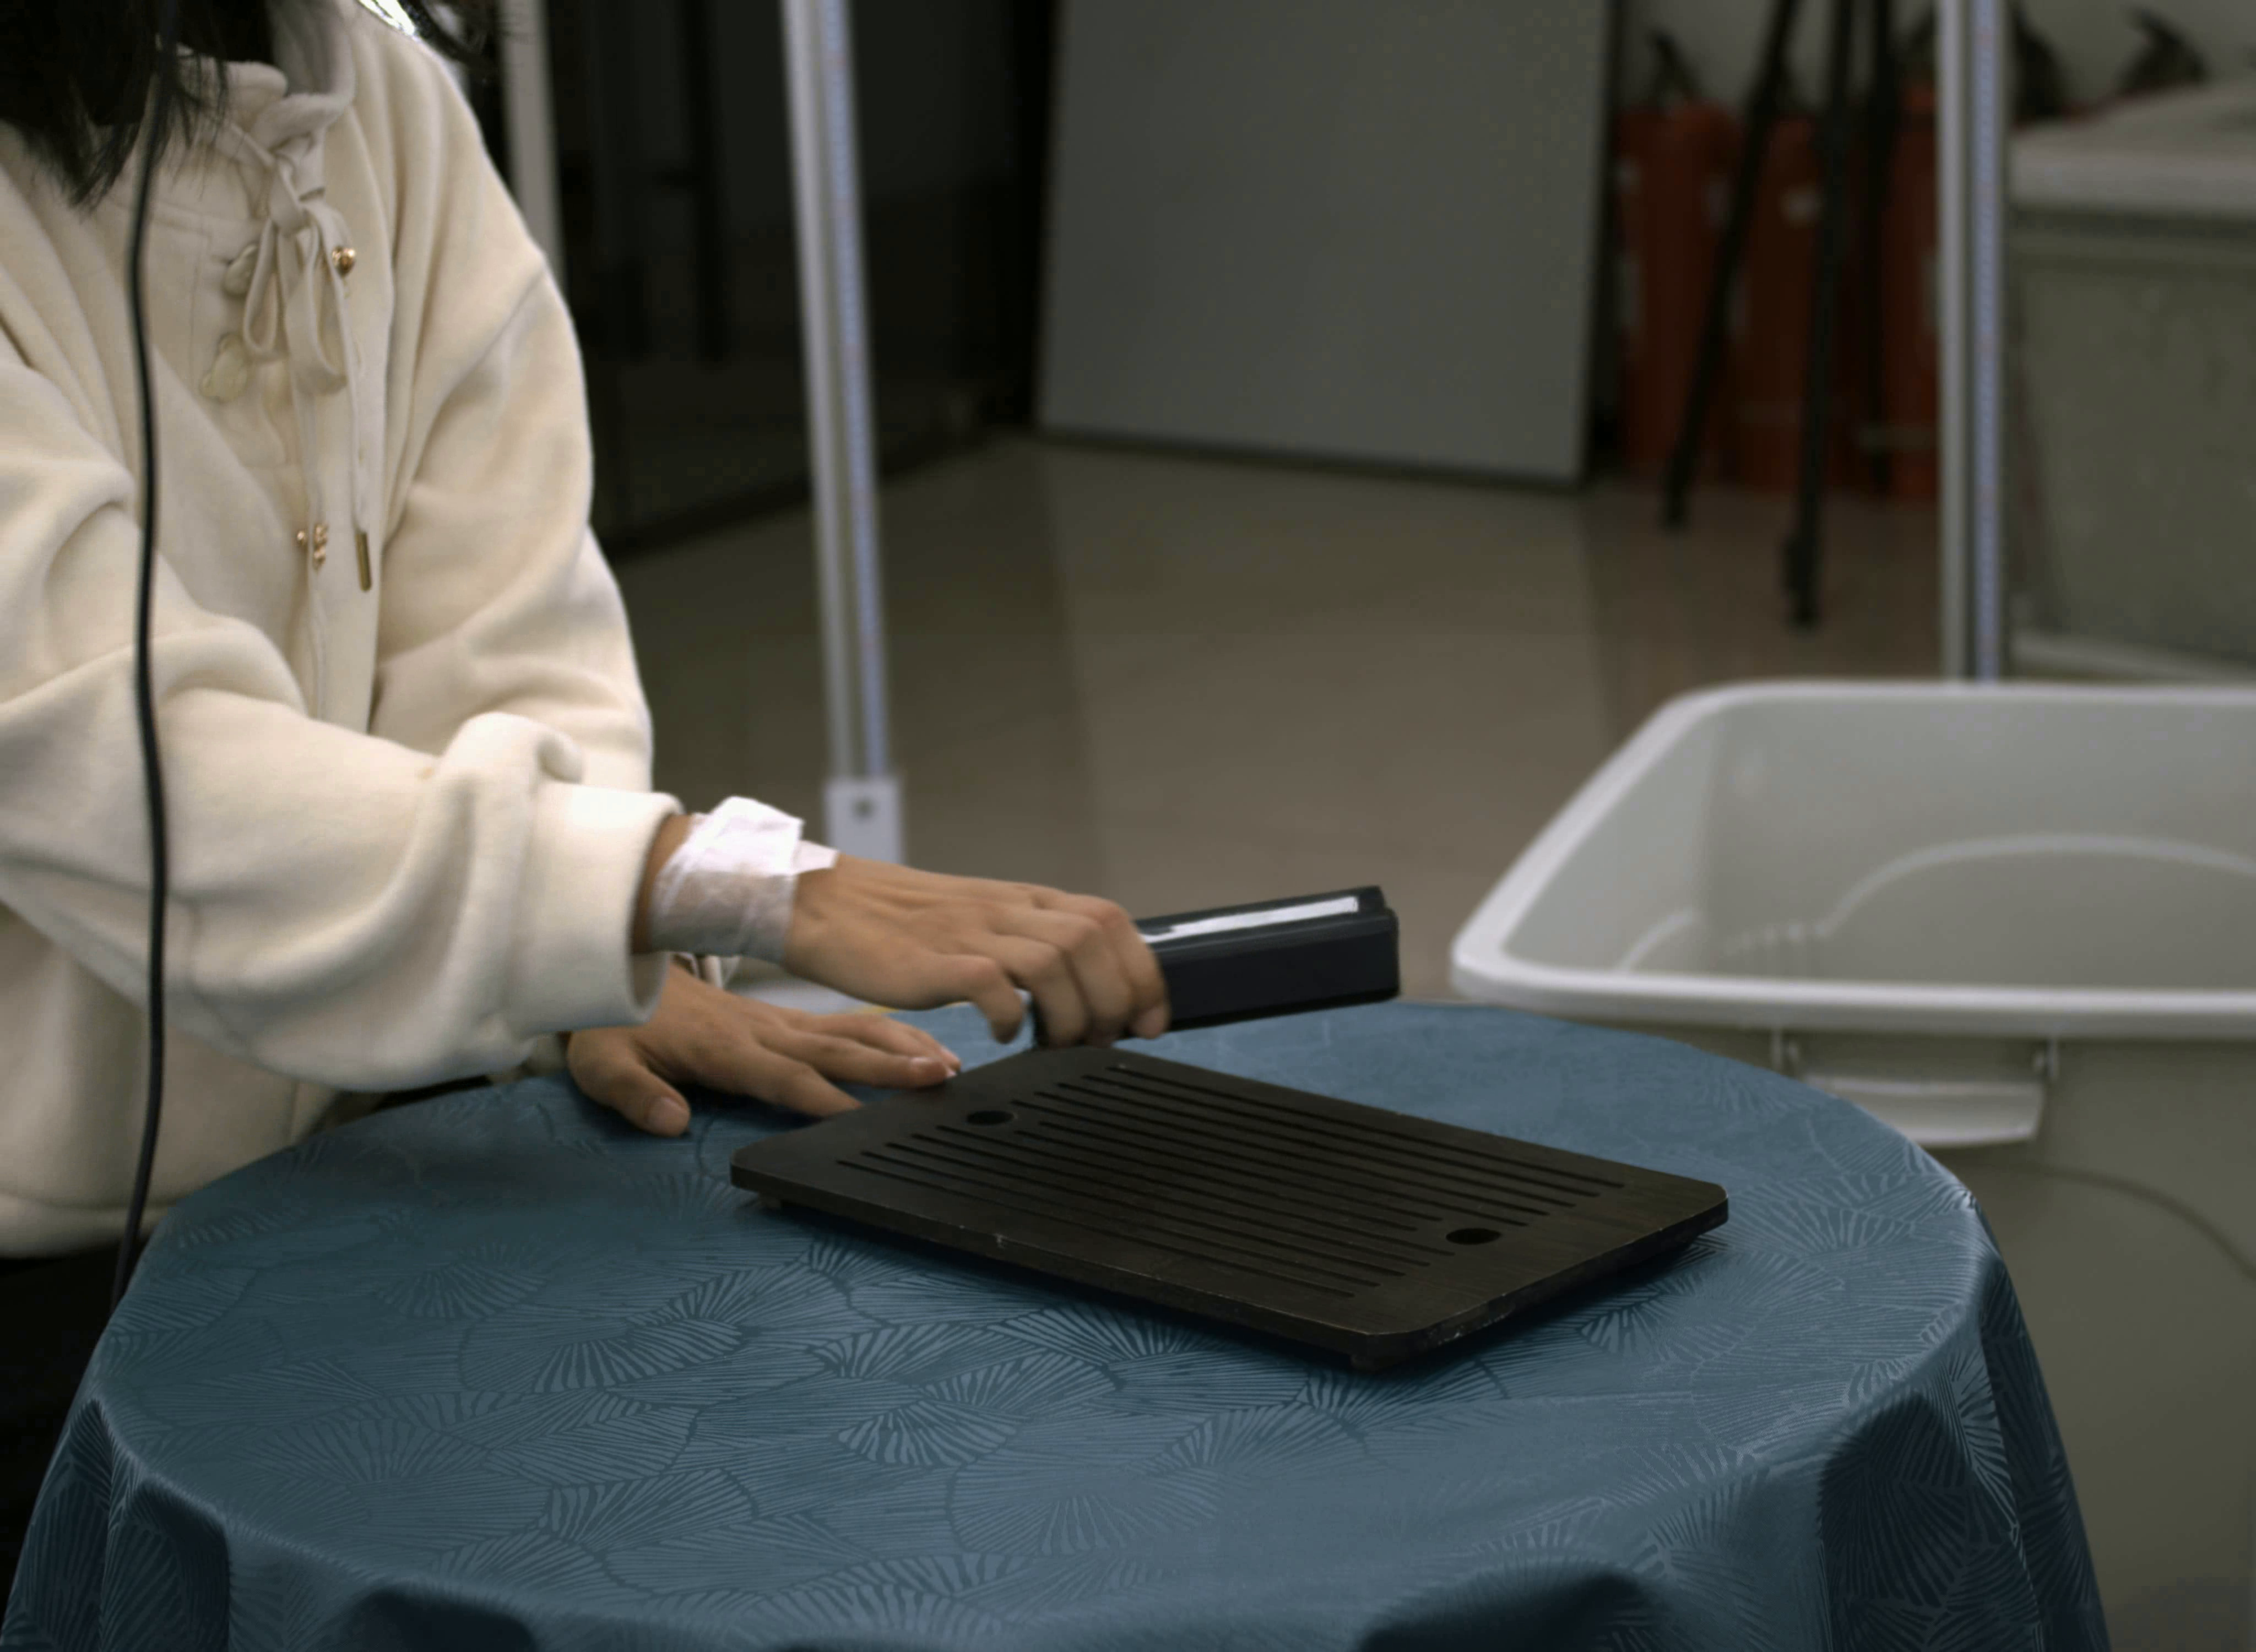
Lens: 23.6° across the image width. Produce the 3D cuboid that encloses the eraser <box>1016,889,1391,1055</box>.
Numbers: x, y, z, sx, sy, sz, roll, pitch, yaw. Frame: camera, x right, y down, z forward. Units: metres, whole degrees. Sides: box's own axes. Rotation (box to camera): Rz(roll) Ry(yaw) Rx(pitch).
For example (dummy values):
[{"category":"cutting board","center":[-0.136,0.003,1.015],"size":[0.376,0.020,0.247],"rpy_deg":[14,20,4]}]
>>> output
[{"category":"eraser","center":[0.026,0.047,1.779],"size":[0.124,0.031,0.053],"rpy_deg":[-10,9,2]}]

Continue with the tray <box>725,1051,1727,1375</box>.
[{"category":"tray","center":[0.028,0.121,1.725],"size":[0.166,0.019,0.309],"rpy_deg":[-17,19,-42]}]
